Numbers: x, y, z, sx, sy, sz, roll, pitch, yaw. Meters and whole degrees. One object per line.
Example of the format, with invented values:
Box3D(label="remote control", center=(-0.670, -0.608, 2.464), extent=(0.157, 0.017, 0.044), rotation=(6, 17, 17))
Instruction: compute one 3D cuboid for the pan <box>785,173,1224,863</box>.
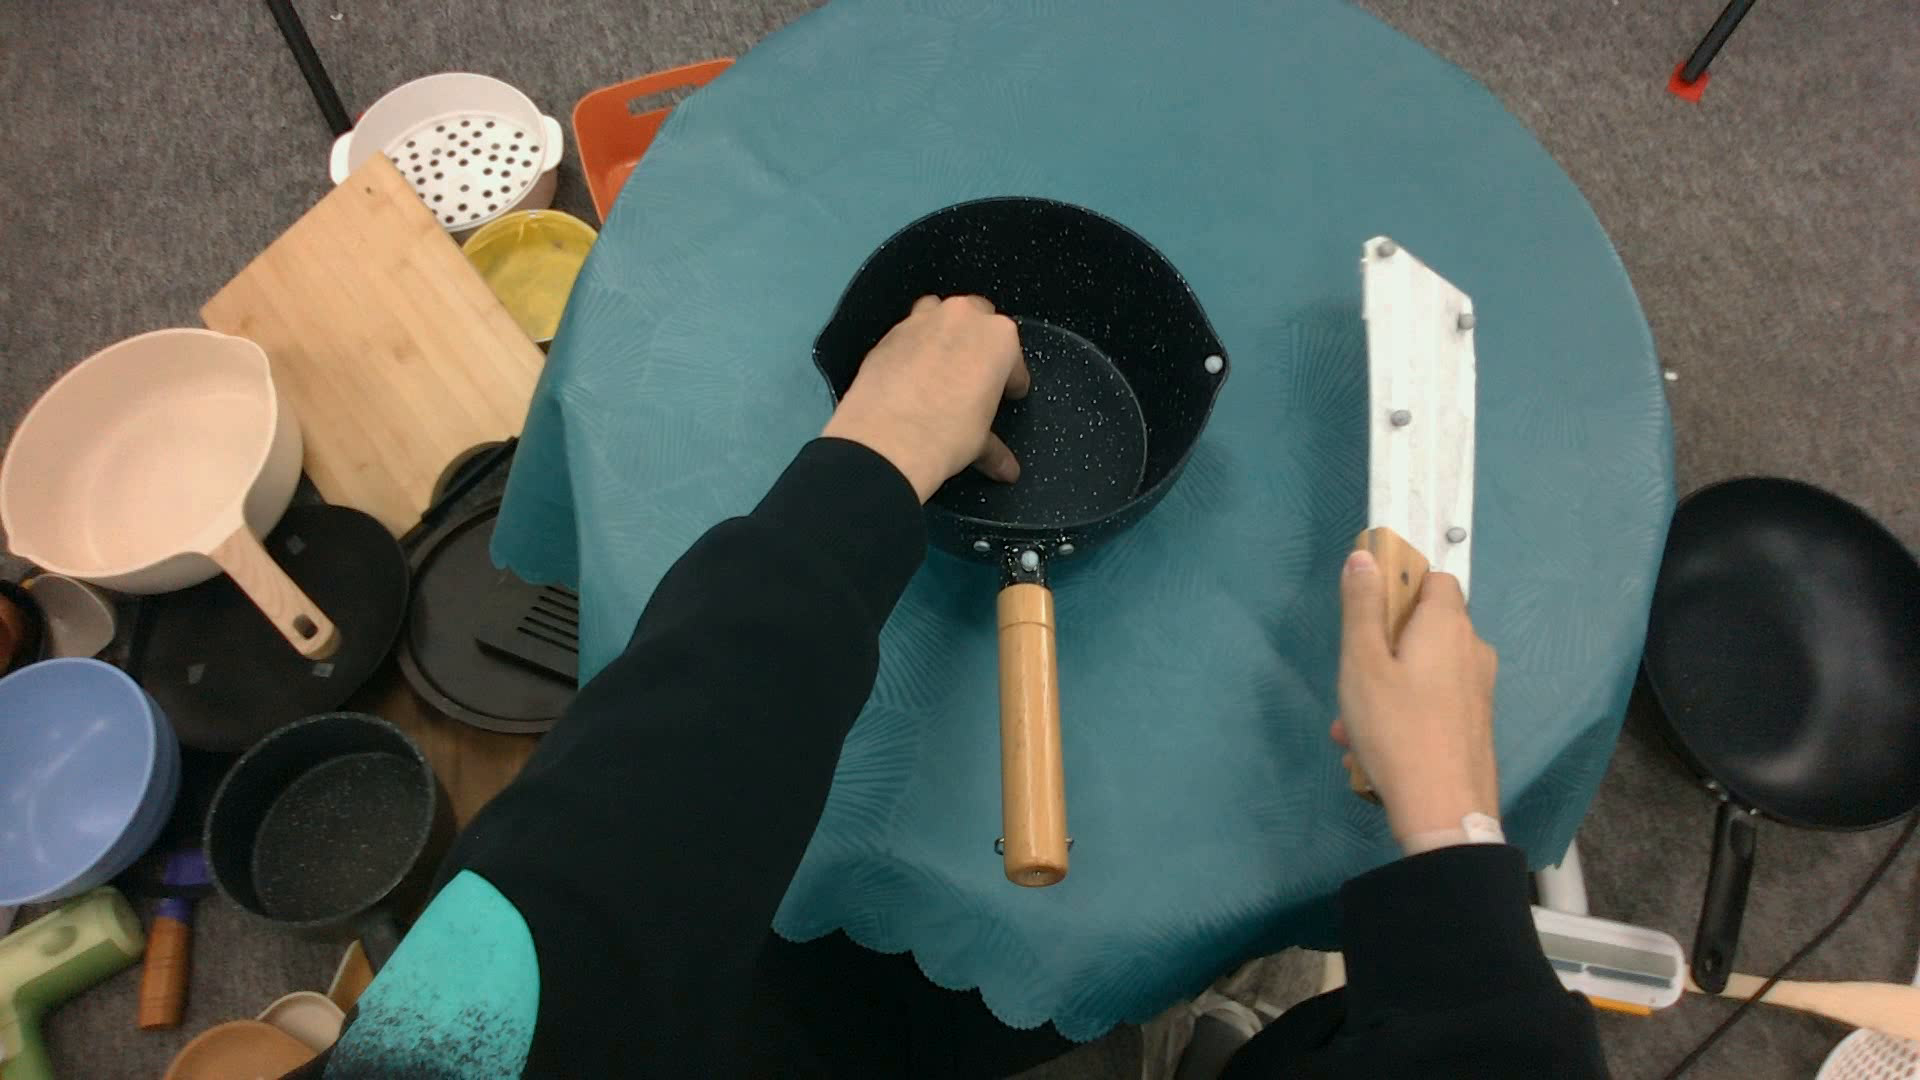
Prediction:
Box3D(label="pan", center=(0.023, -0.013, 0.645), extent=(0.207, 0.108, 0.344), rotation=(0, 65, -5))

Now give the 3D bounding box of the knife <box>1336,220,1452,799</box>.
Box3D(label="knife", center=(0.213, -0.025, 0.682), extent=(0.114, 0.021, 0.316), rotation=(30, 58, -32))
